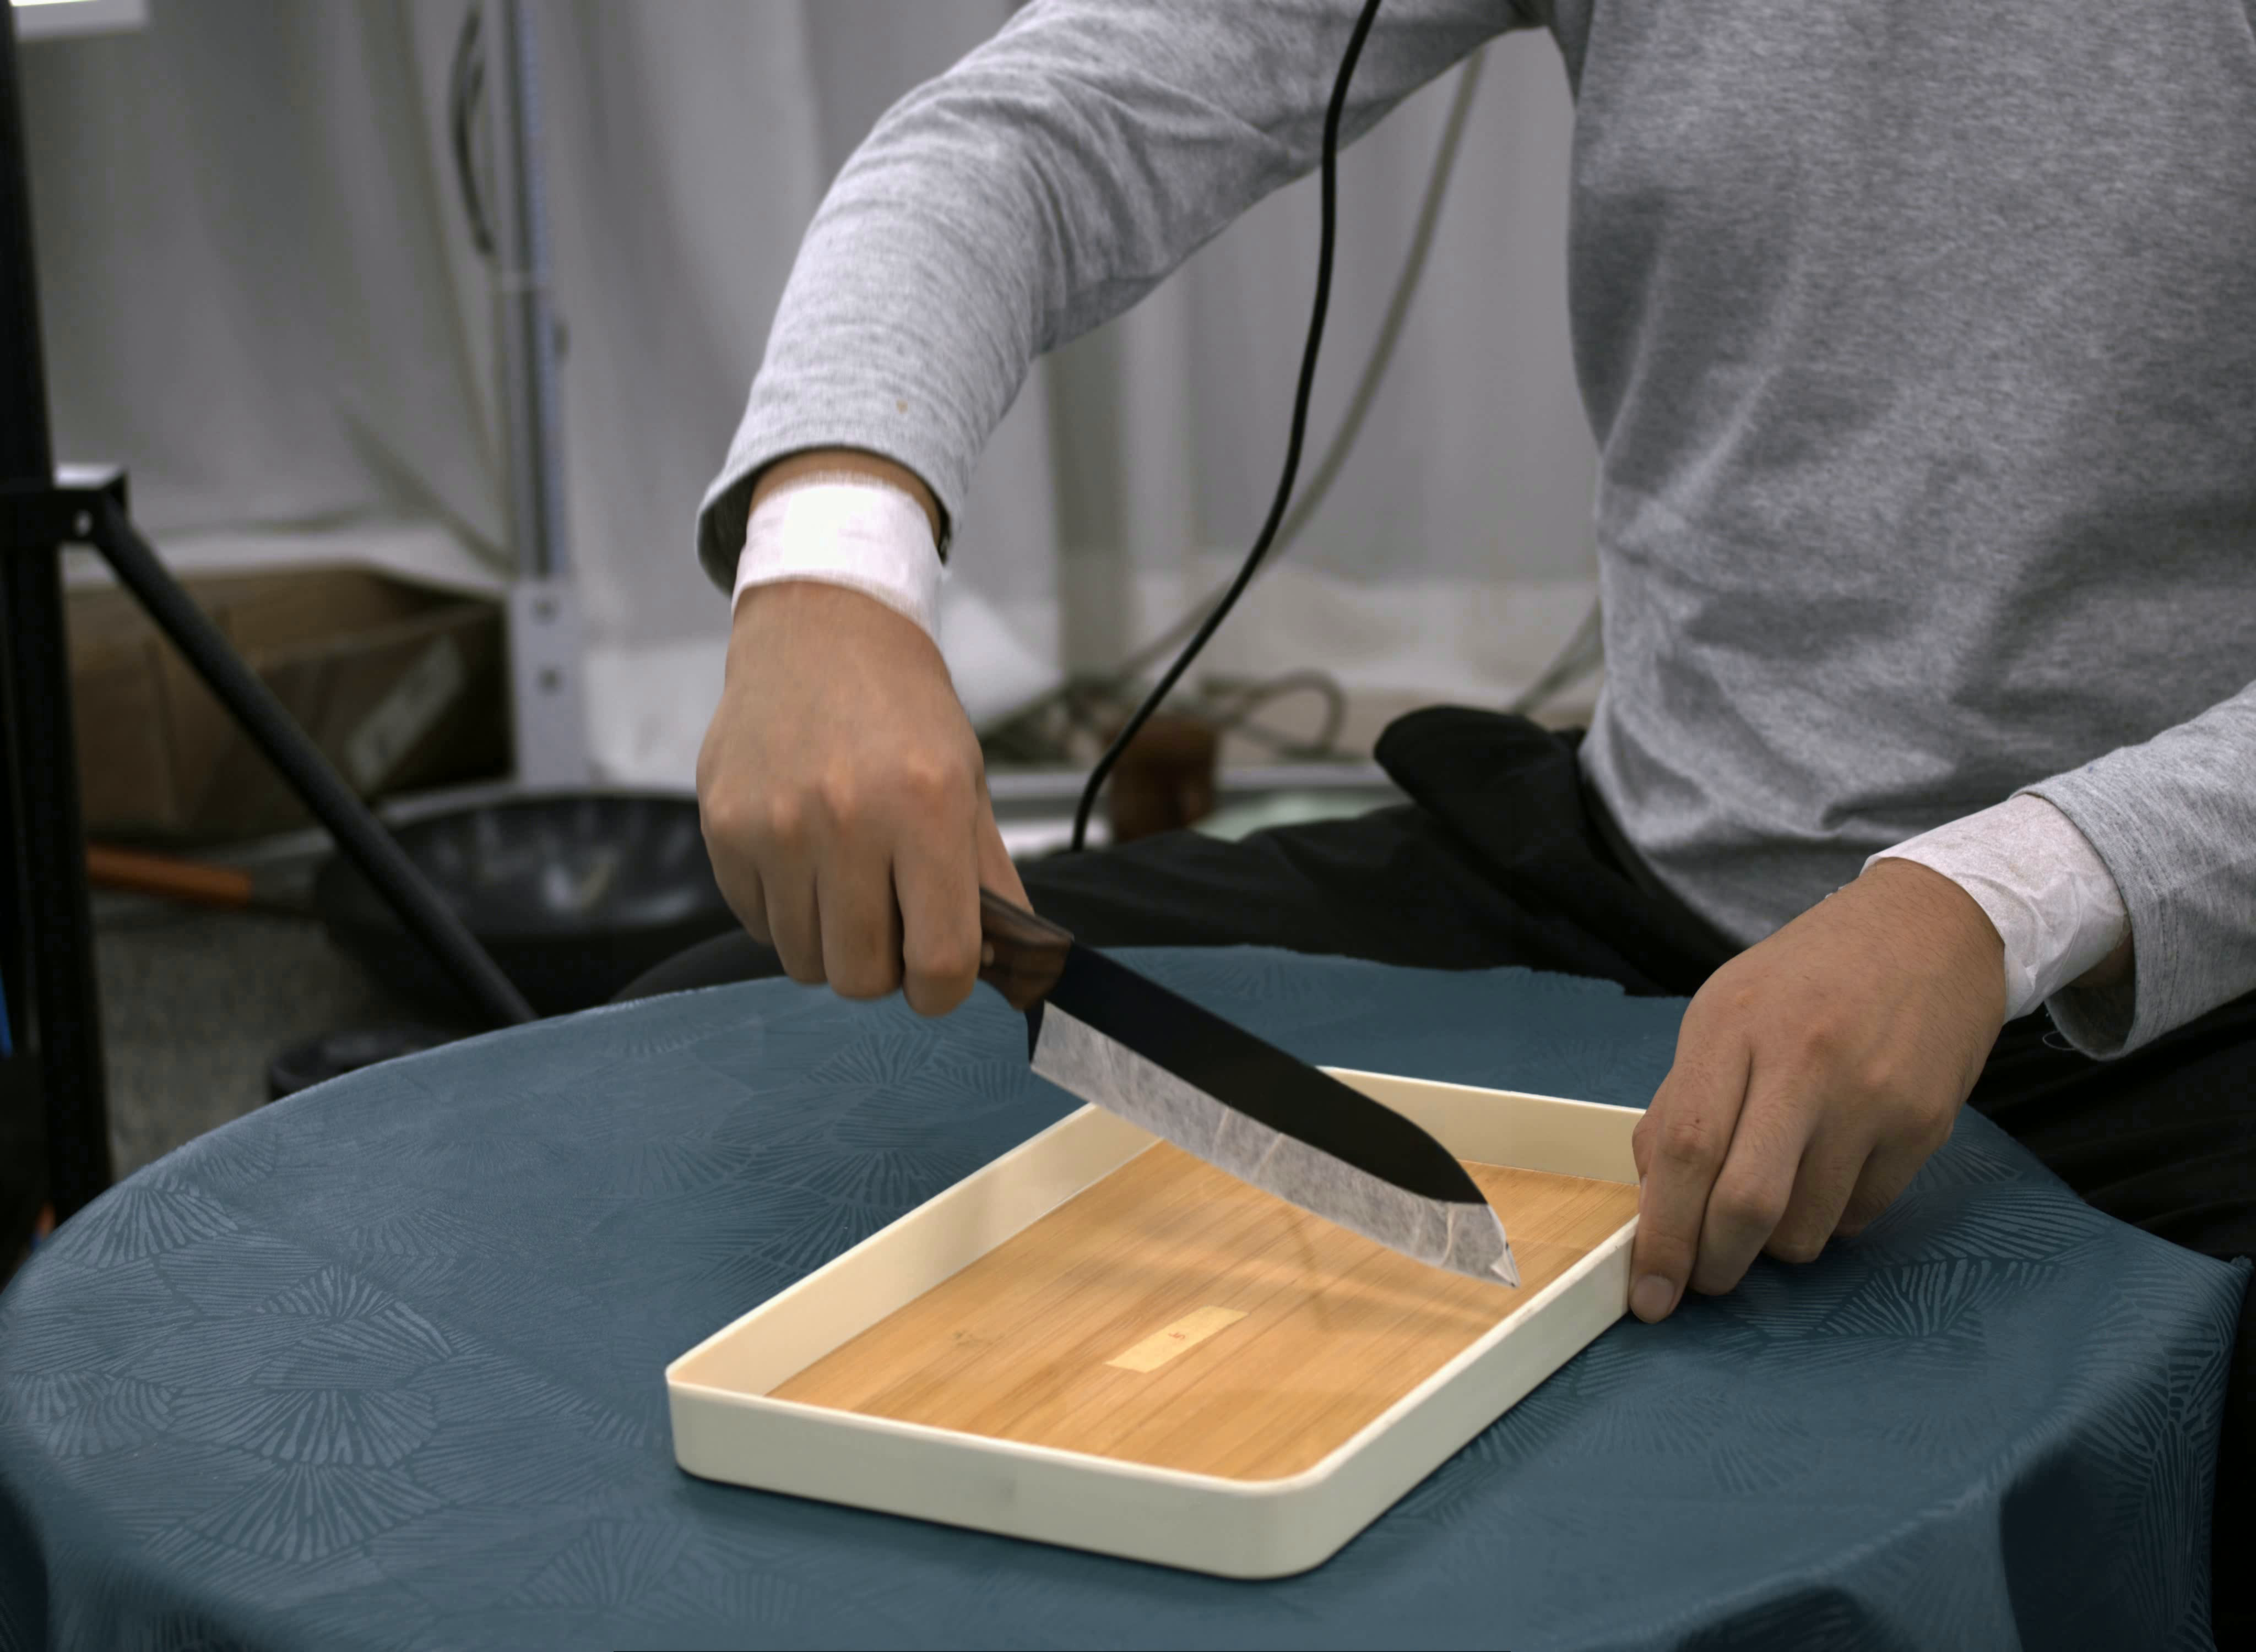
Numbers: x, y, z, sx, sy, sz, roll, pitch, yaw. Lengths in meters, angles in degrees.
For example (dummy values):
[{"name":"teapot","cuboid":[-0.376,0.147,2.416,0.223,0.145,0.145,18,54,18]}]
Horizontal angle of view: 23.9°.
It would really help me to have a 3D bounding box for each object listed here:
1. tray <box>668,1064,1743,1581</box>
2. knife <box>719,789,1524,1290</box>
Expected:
[{"name":"tray","cuboid":[0.029,0.127,1.442,0.195,0.027,0.295,7,18,29]},{"name":"knife","cuboid":[-0.004,0.059,1.497,0.294,0.050,0.019,29,31,29]}]
